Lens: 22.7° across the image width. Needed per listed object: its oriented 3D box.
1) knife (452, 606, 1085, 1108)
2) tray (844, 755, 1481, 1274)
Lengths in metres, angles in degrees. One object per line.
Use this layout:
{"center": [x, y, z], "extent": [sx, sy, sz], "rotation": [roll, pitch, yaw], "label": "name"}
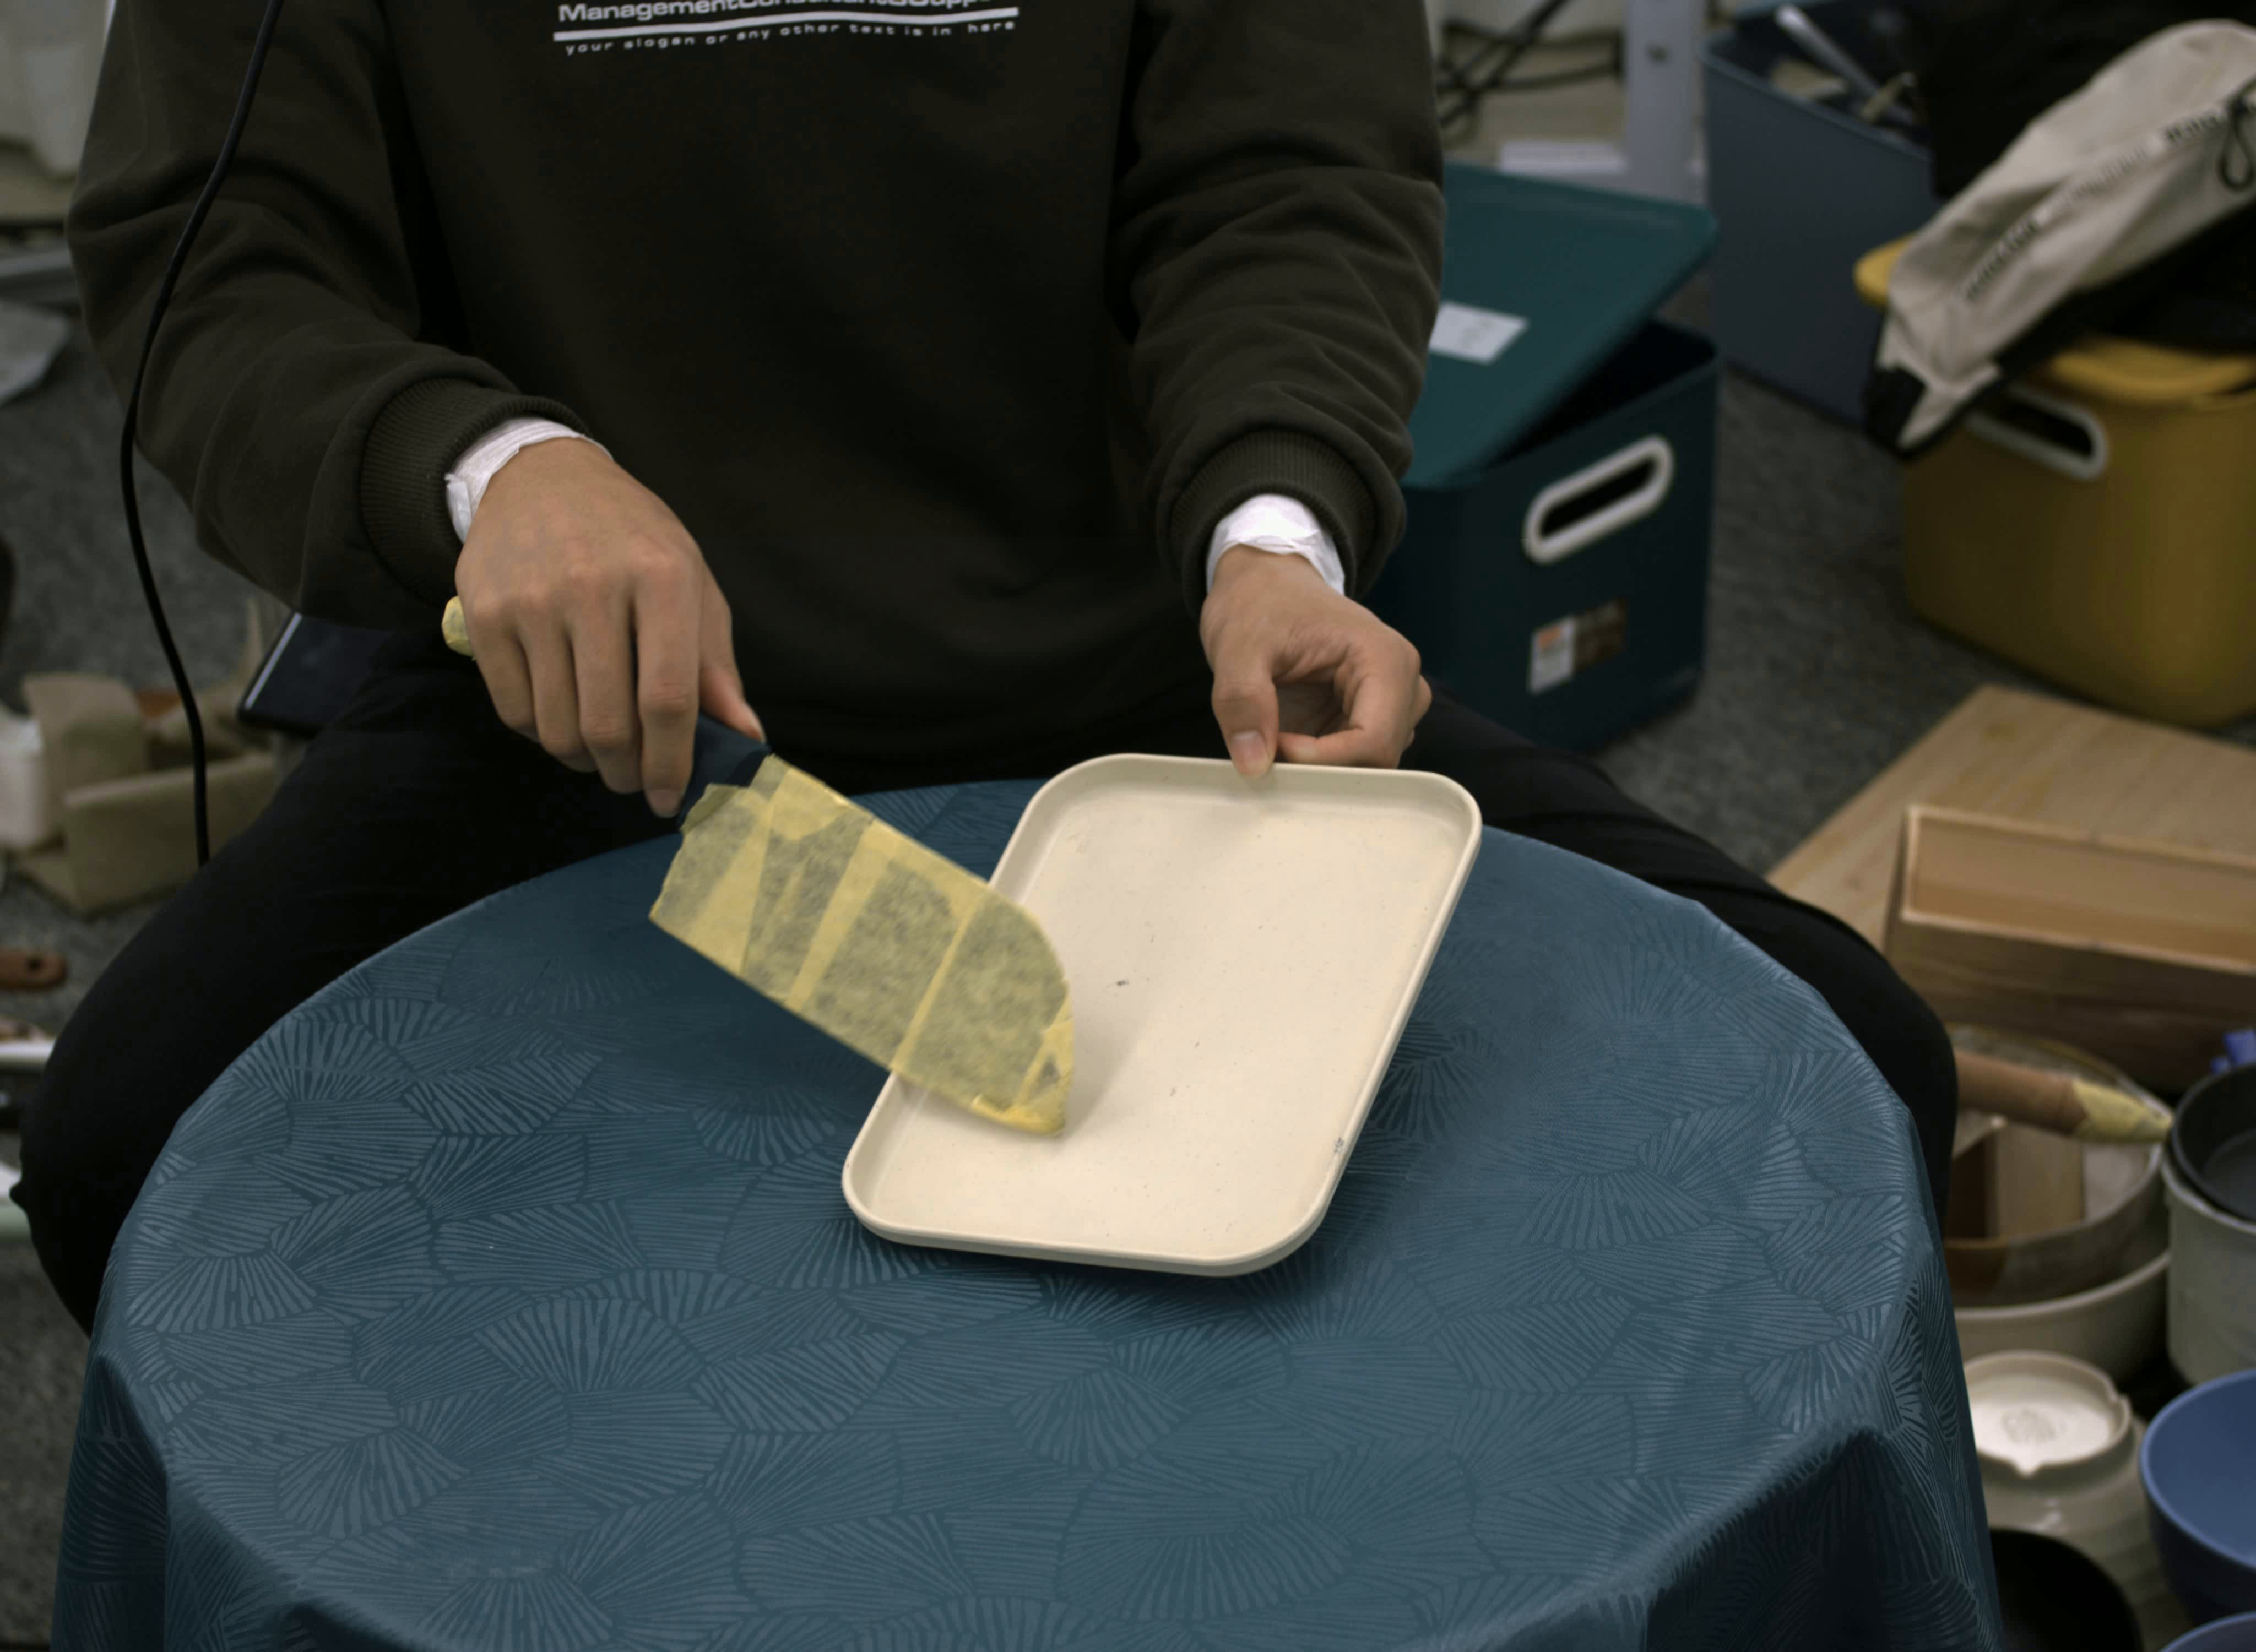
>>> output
{"center": [-0.127, 0.009, 1.914], "extent": [0.290, 0.081, 0.027], "rotation": [33, 7, 24], "label": "knife"}
{"center": [0.015, 0.062, 1.891], "extent": [0.170, 0.017, 0.244], "rotation": [3, 42, 23], "label": "tray"}
